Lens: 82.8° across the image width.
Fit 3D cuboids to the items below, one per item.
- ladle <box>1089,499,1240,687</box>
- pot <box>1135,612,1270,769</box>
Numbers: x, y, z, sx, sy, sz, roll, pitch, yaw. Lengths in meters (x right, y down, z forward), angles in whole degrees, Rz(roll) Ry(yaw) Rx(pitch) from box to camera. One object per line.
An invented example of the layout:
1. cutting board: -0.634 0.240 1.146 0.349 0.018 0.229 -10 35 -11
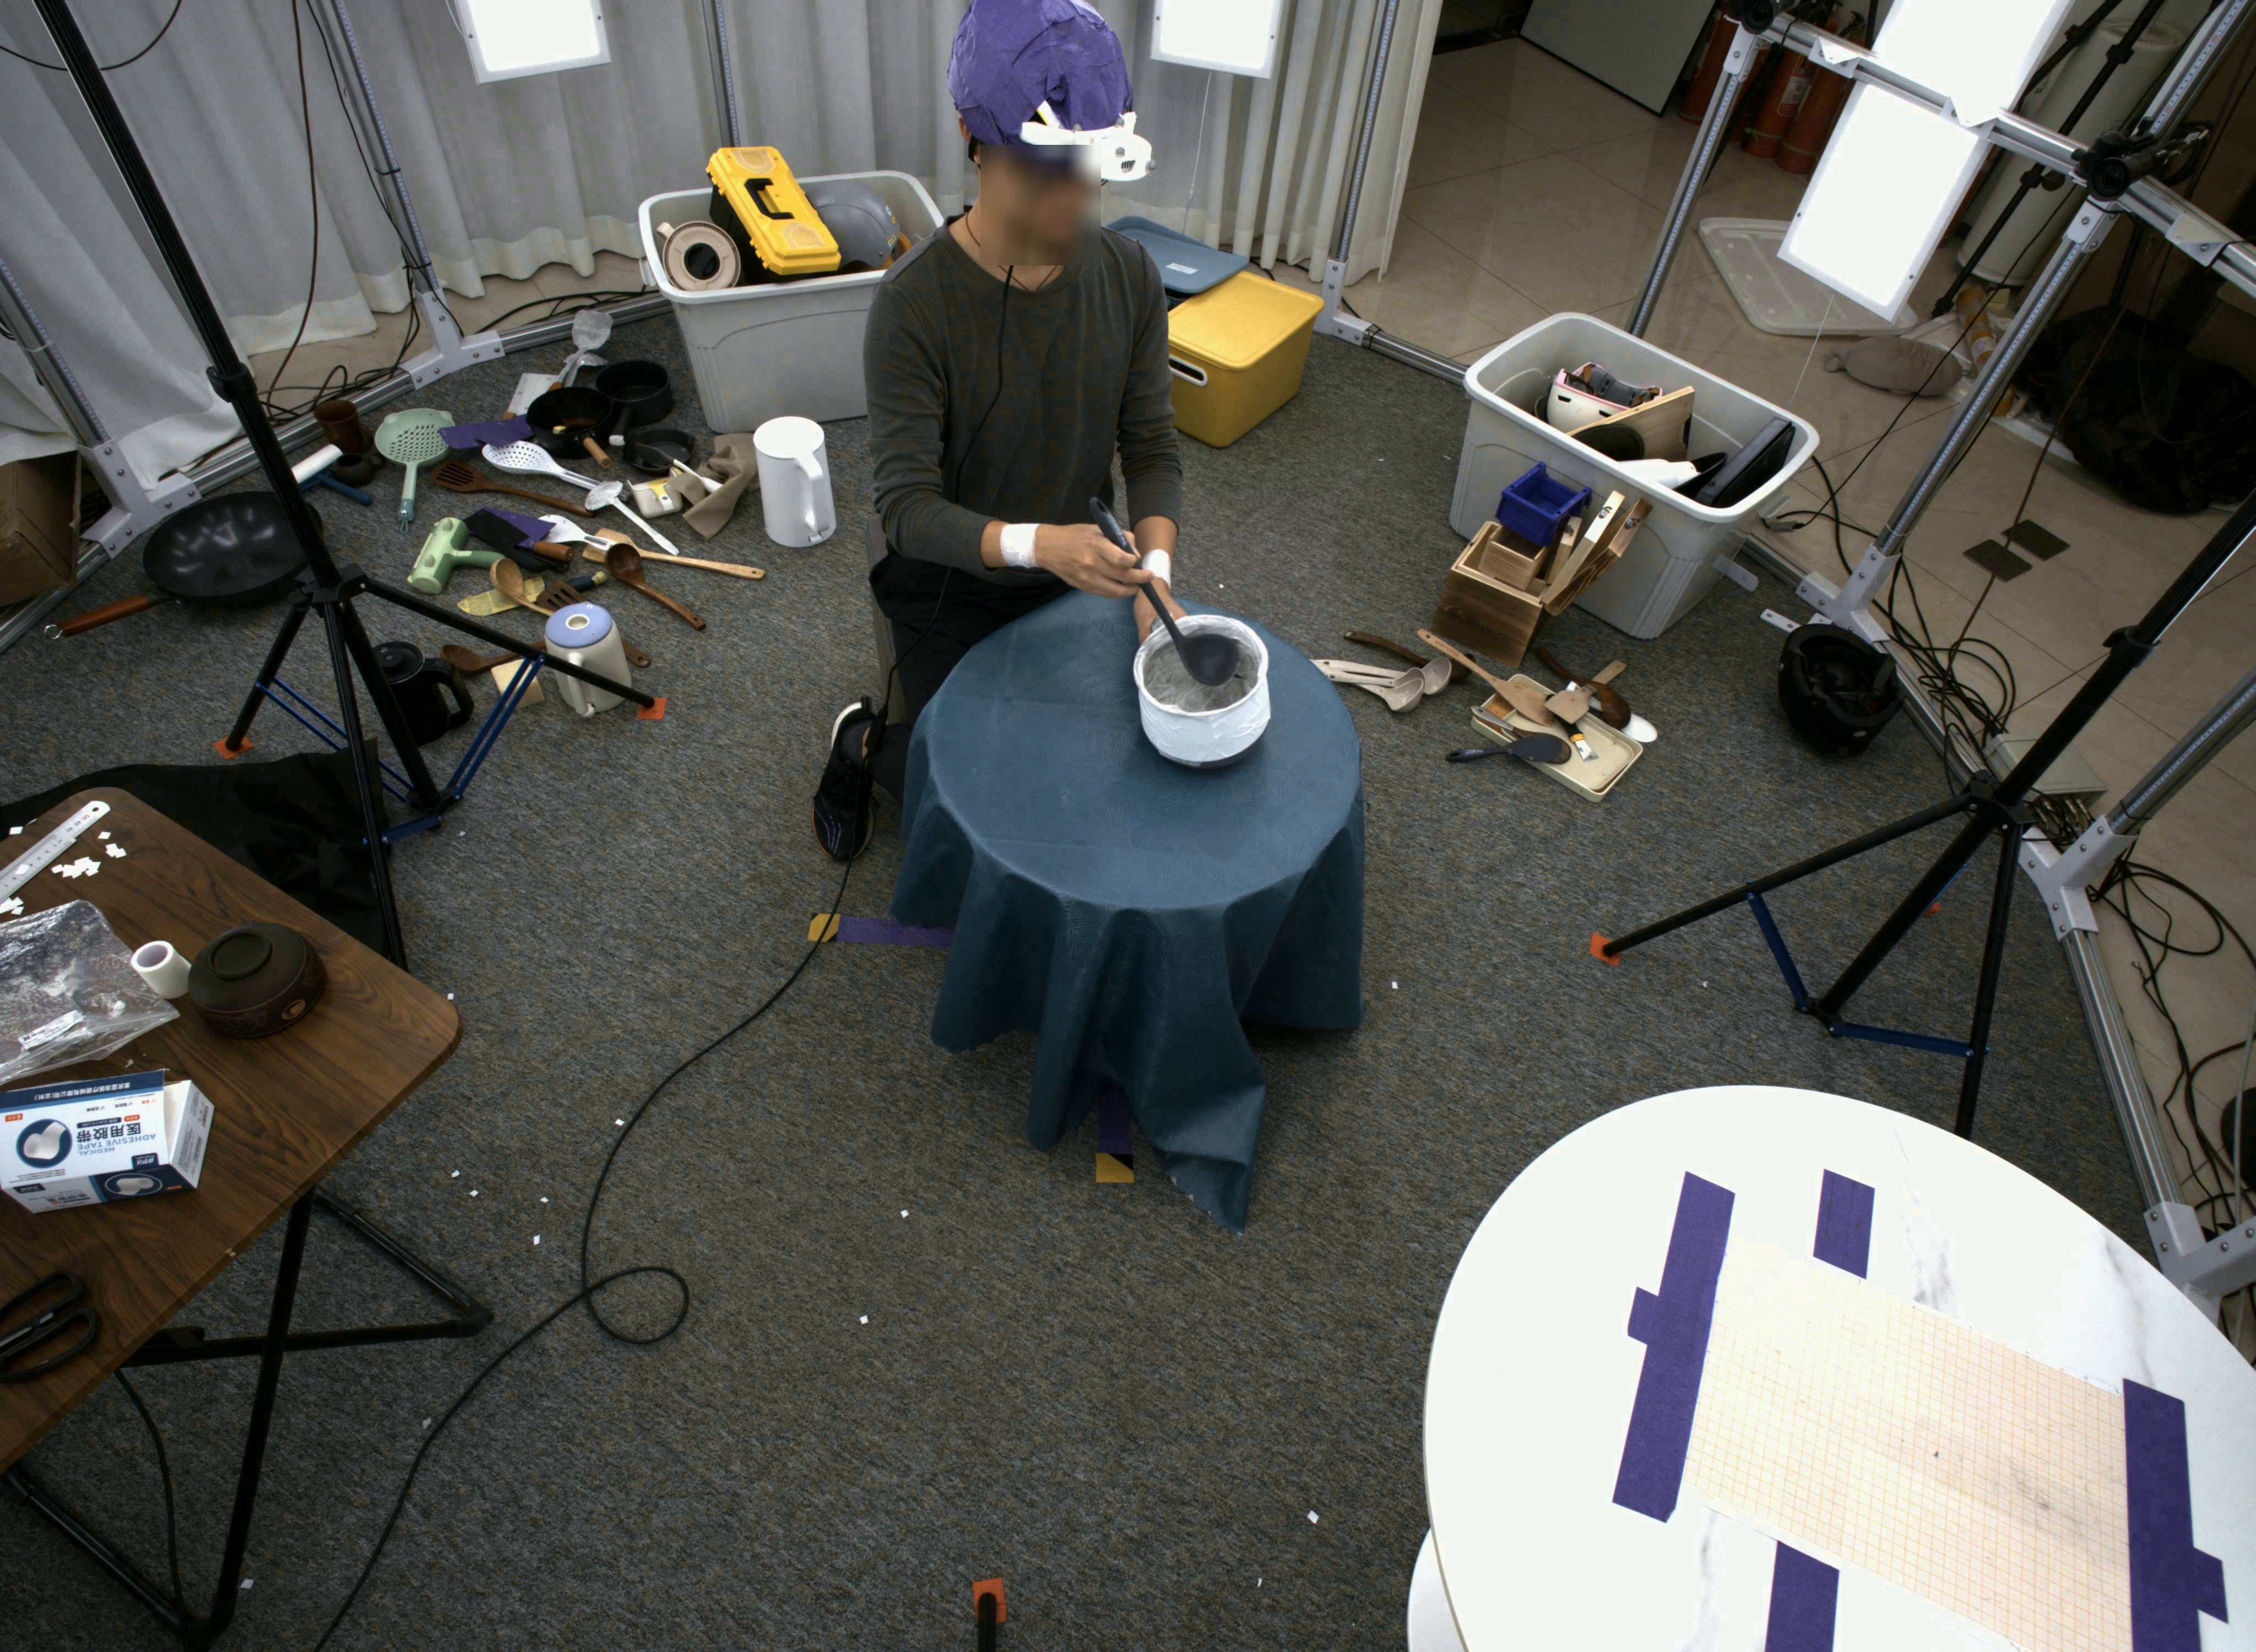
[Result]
1. ladle: 0.049 -0.299 1.636 0.064 0.307 0.088 -9 46 31
2. pot: 0.089 -0.196 1.743 0.179 0.133 0.239 -26 55 -11
